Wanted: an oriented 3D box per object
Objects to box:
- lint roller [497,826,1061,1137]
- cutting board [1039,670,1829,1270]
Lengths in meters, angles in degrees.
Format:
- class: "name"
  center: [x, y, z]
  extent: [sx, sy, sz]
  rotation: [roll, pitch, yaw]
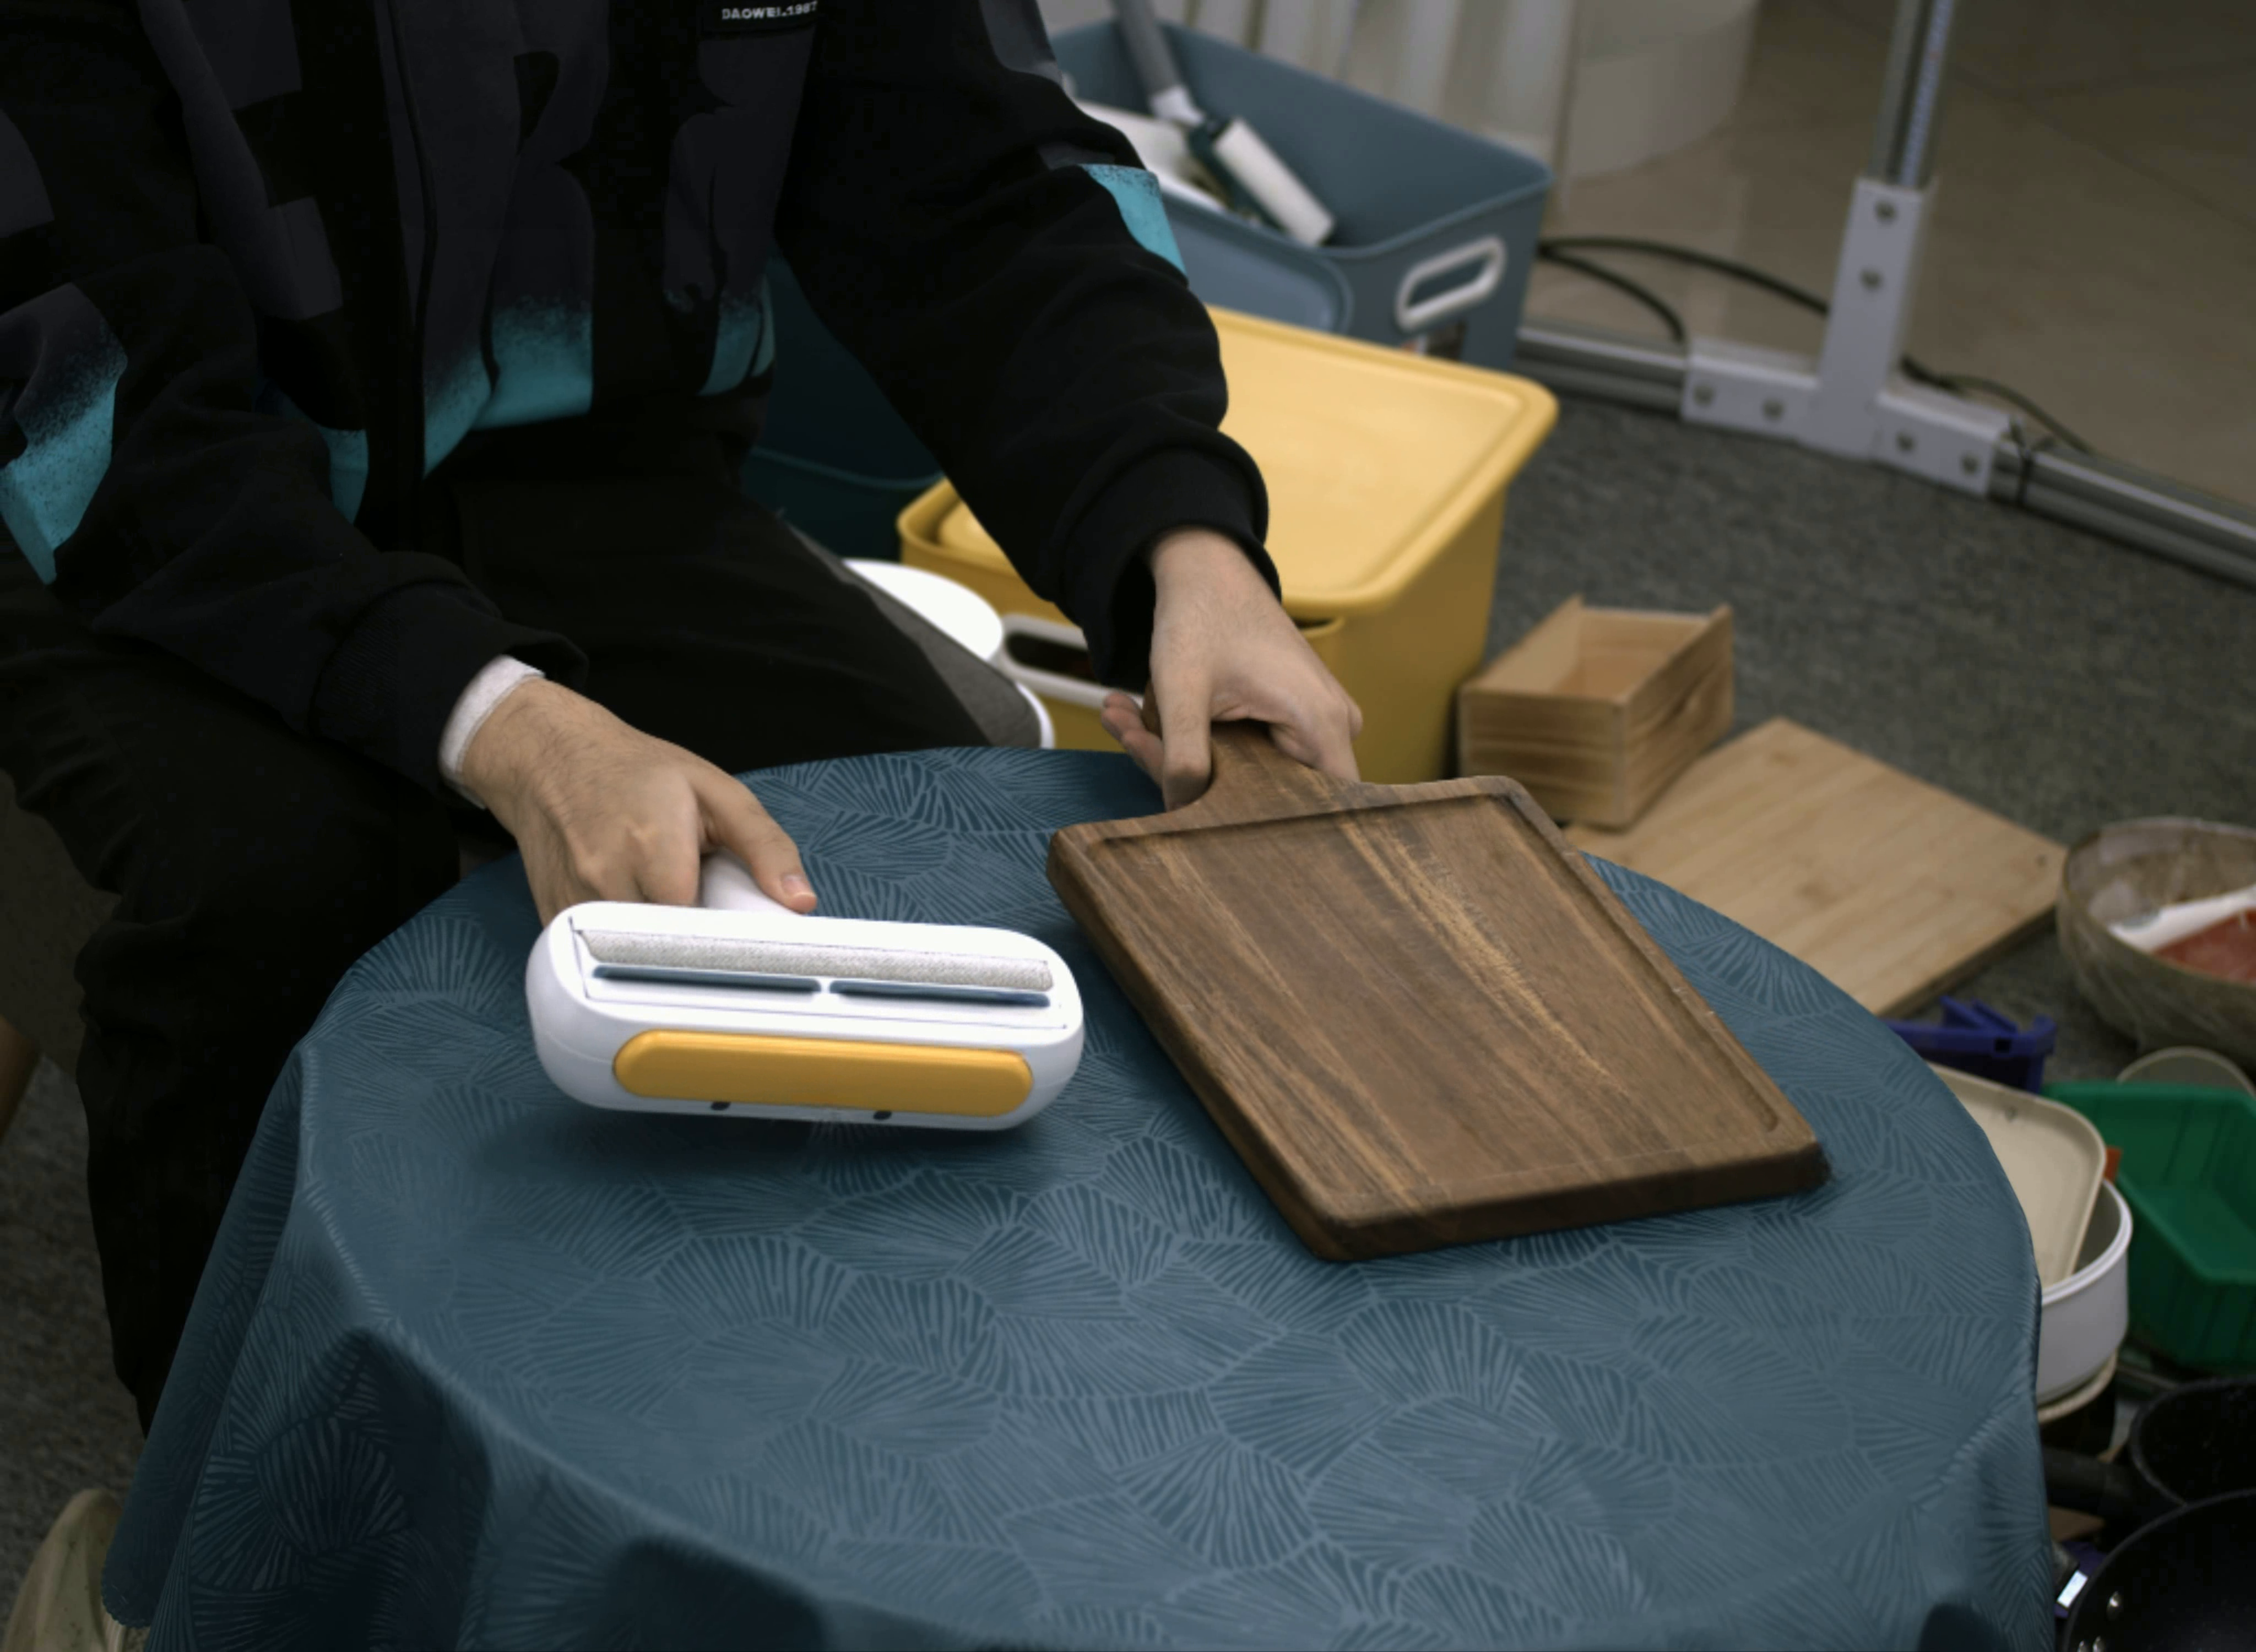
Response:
- class: "lint roller"
  center: [-0.130, 0.040, 1.848]
  extent: [0.192, 0.074, 0.194]
  rotation: [2, 31, -14]
- class: "cutting board"
  center: [0.086, 0.039, 1.932]
  extent: [0.200, 0.023, 0.355]
  rotation: [-7, 34, -24]
